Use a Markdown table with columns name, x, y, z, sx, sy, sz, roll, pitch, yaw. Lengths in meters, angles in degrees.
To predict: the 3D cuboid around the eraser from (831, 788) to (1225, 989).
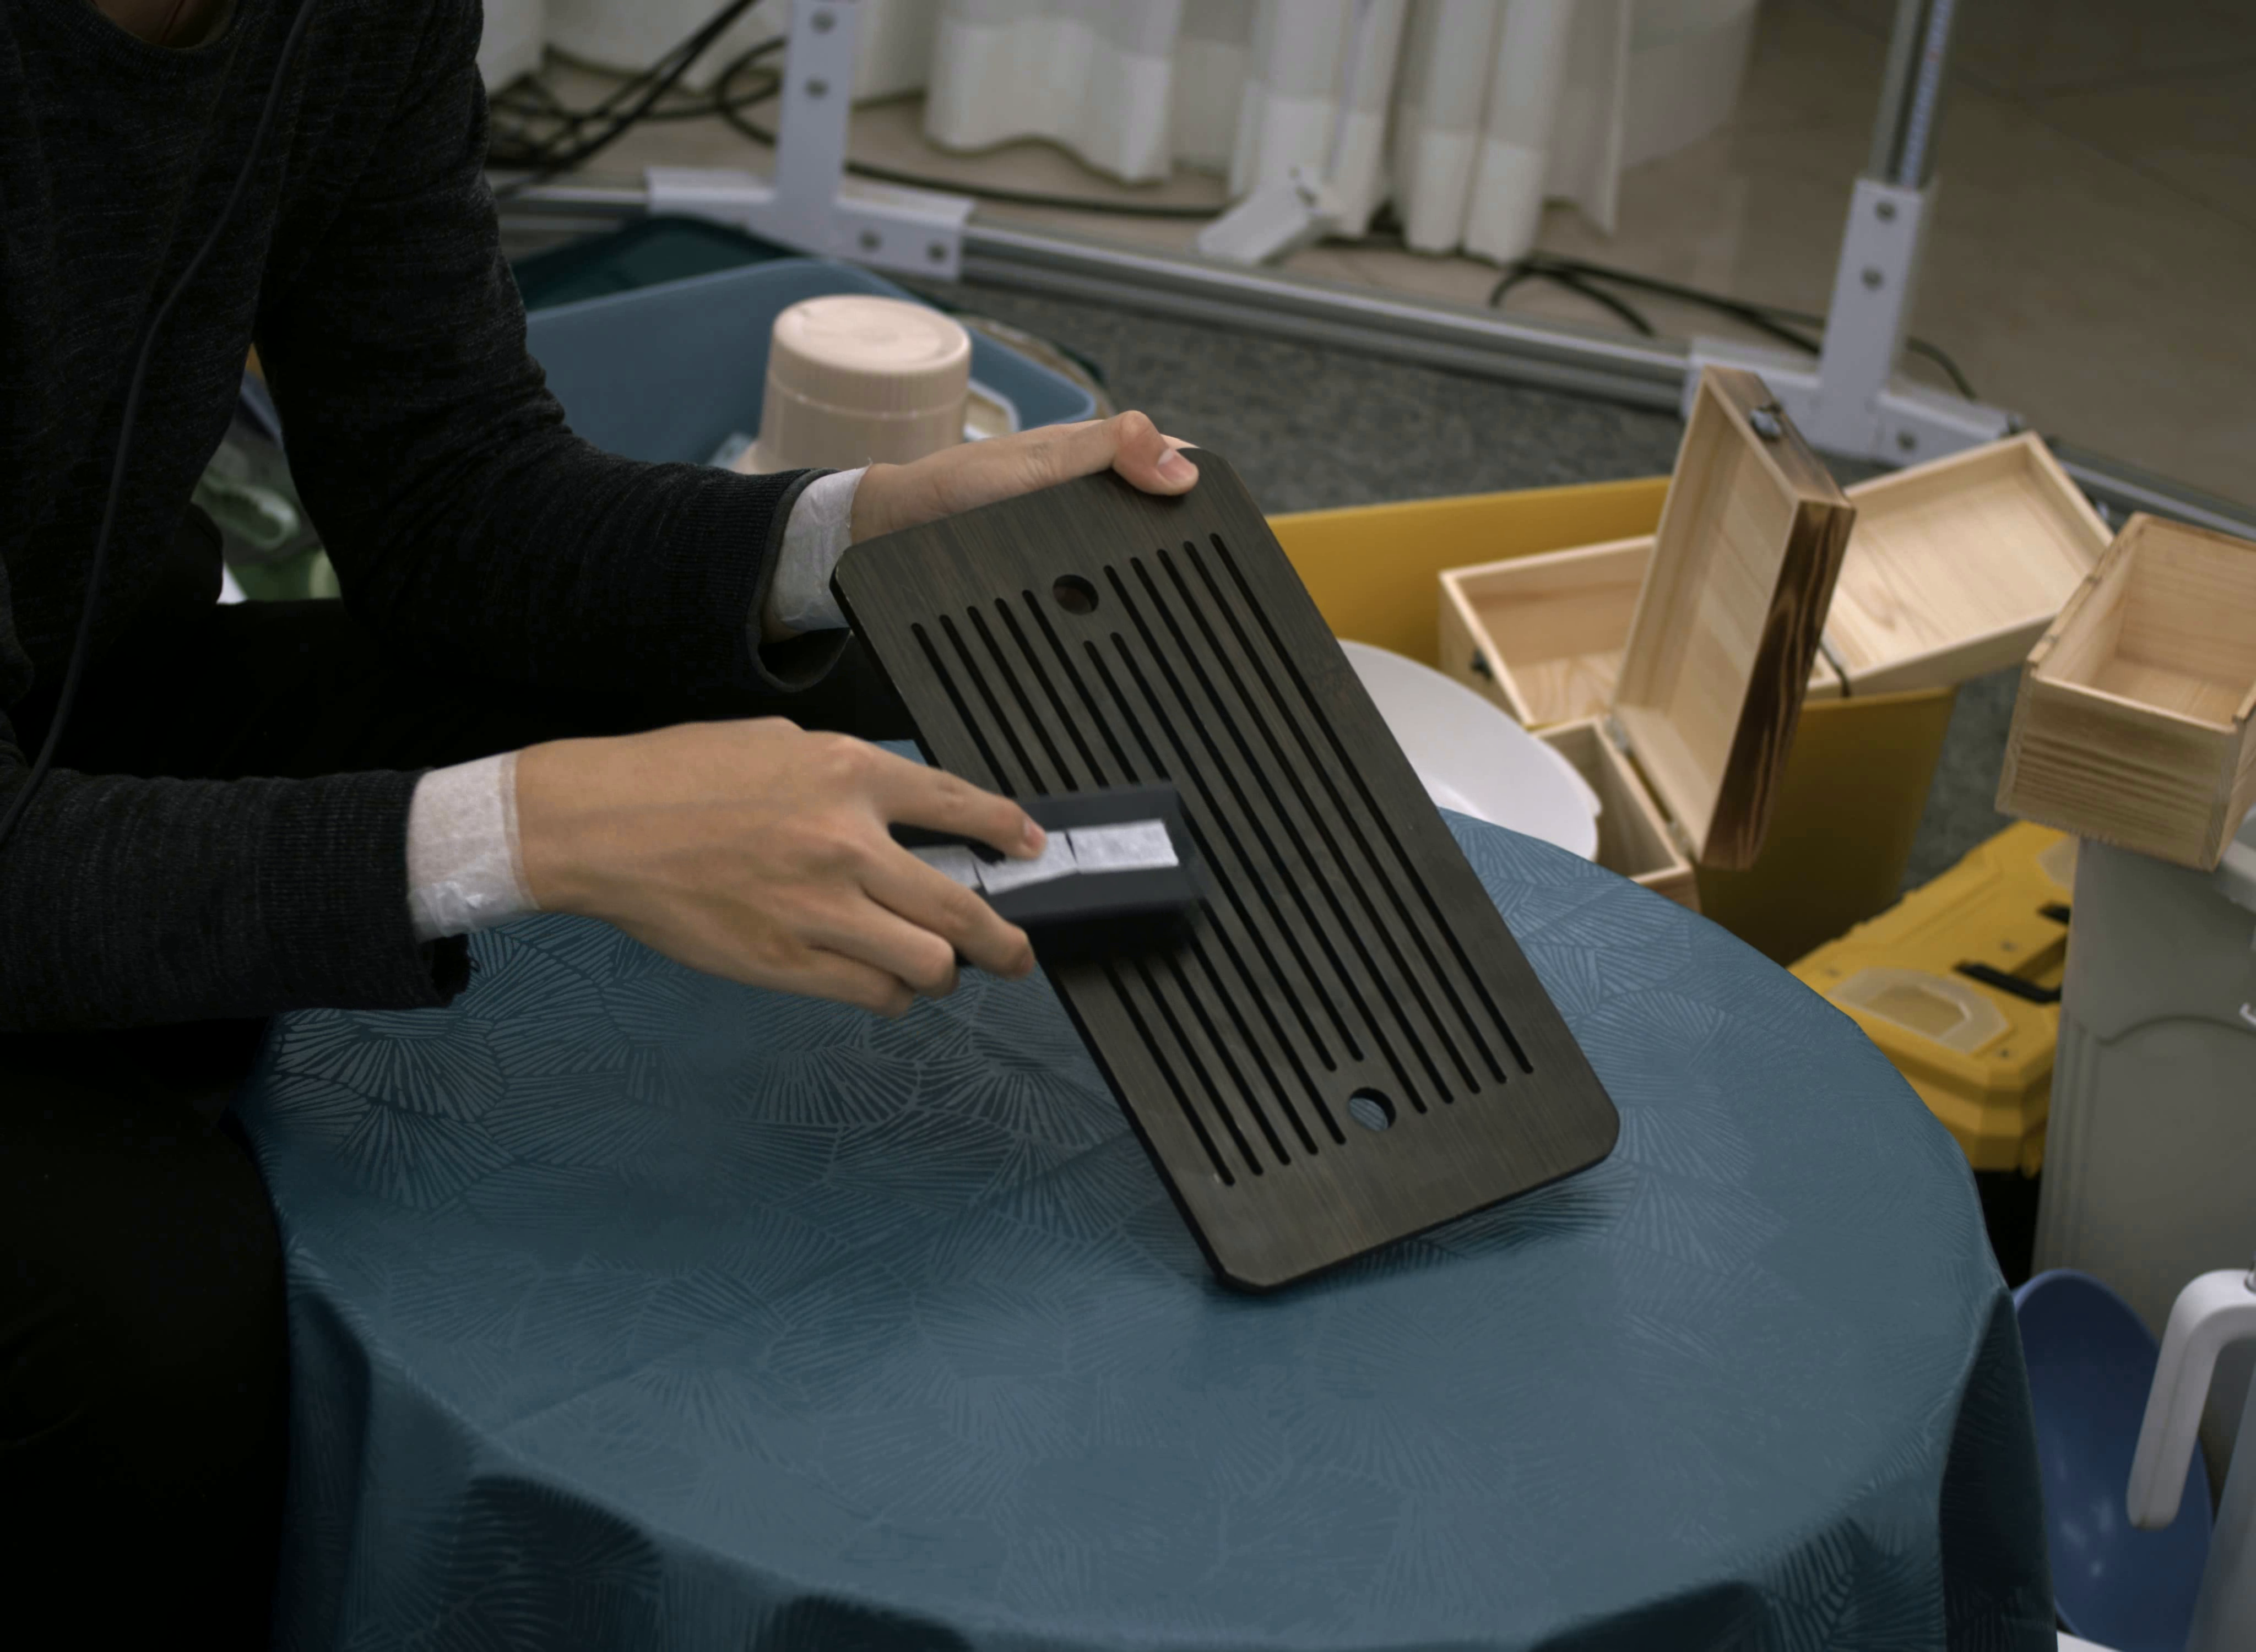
| name | x | y | z | sx | sy | sz | roll | pitch | yaw |
| --- | --- | --- | --- | --- | --- | --- | --- | --- | --- |
| eraser | -0.034 | 0.020 | 1.781 | 0.125 | 0.030 | 0.054 | -7 | 60 | -23 |

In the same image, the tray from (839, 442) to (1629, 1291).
| name | x | y | z | sx | sy | sz | roll | pitch | yaw |
| --- | --- | --- | --- | --- | --- | --- | --- | --- | --- |
| tray | 0.034 | 0.009 | 1.840 | 0.169 | 0.018 | 0.308 | -18 | 67 | -30 |
